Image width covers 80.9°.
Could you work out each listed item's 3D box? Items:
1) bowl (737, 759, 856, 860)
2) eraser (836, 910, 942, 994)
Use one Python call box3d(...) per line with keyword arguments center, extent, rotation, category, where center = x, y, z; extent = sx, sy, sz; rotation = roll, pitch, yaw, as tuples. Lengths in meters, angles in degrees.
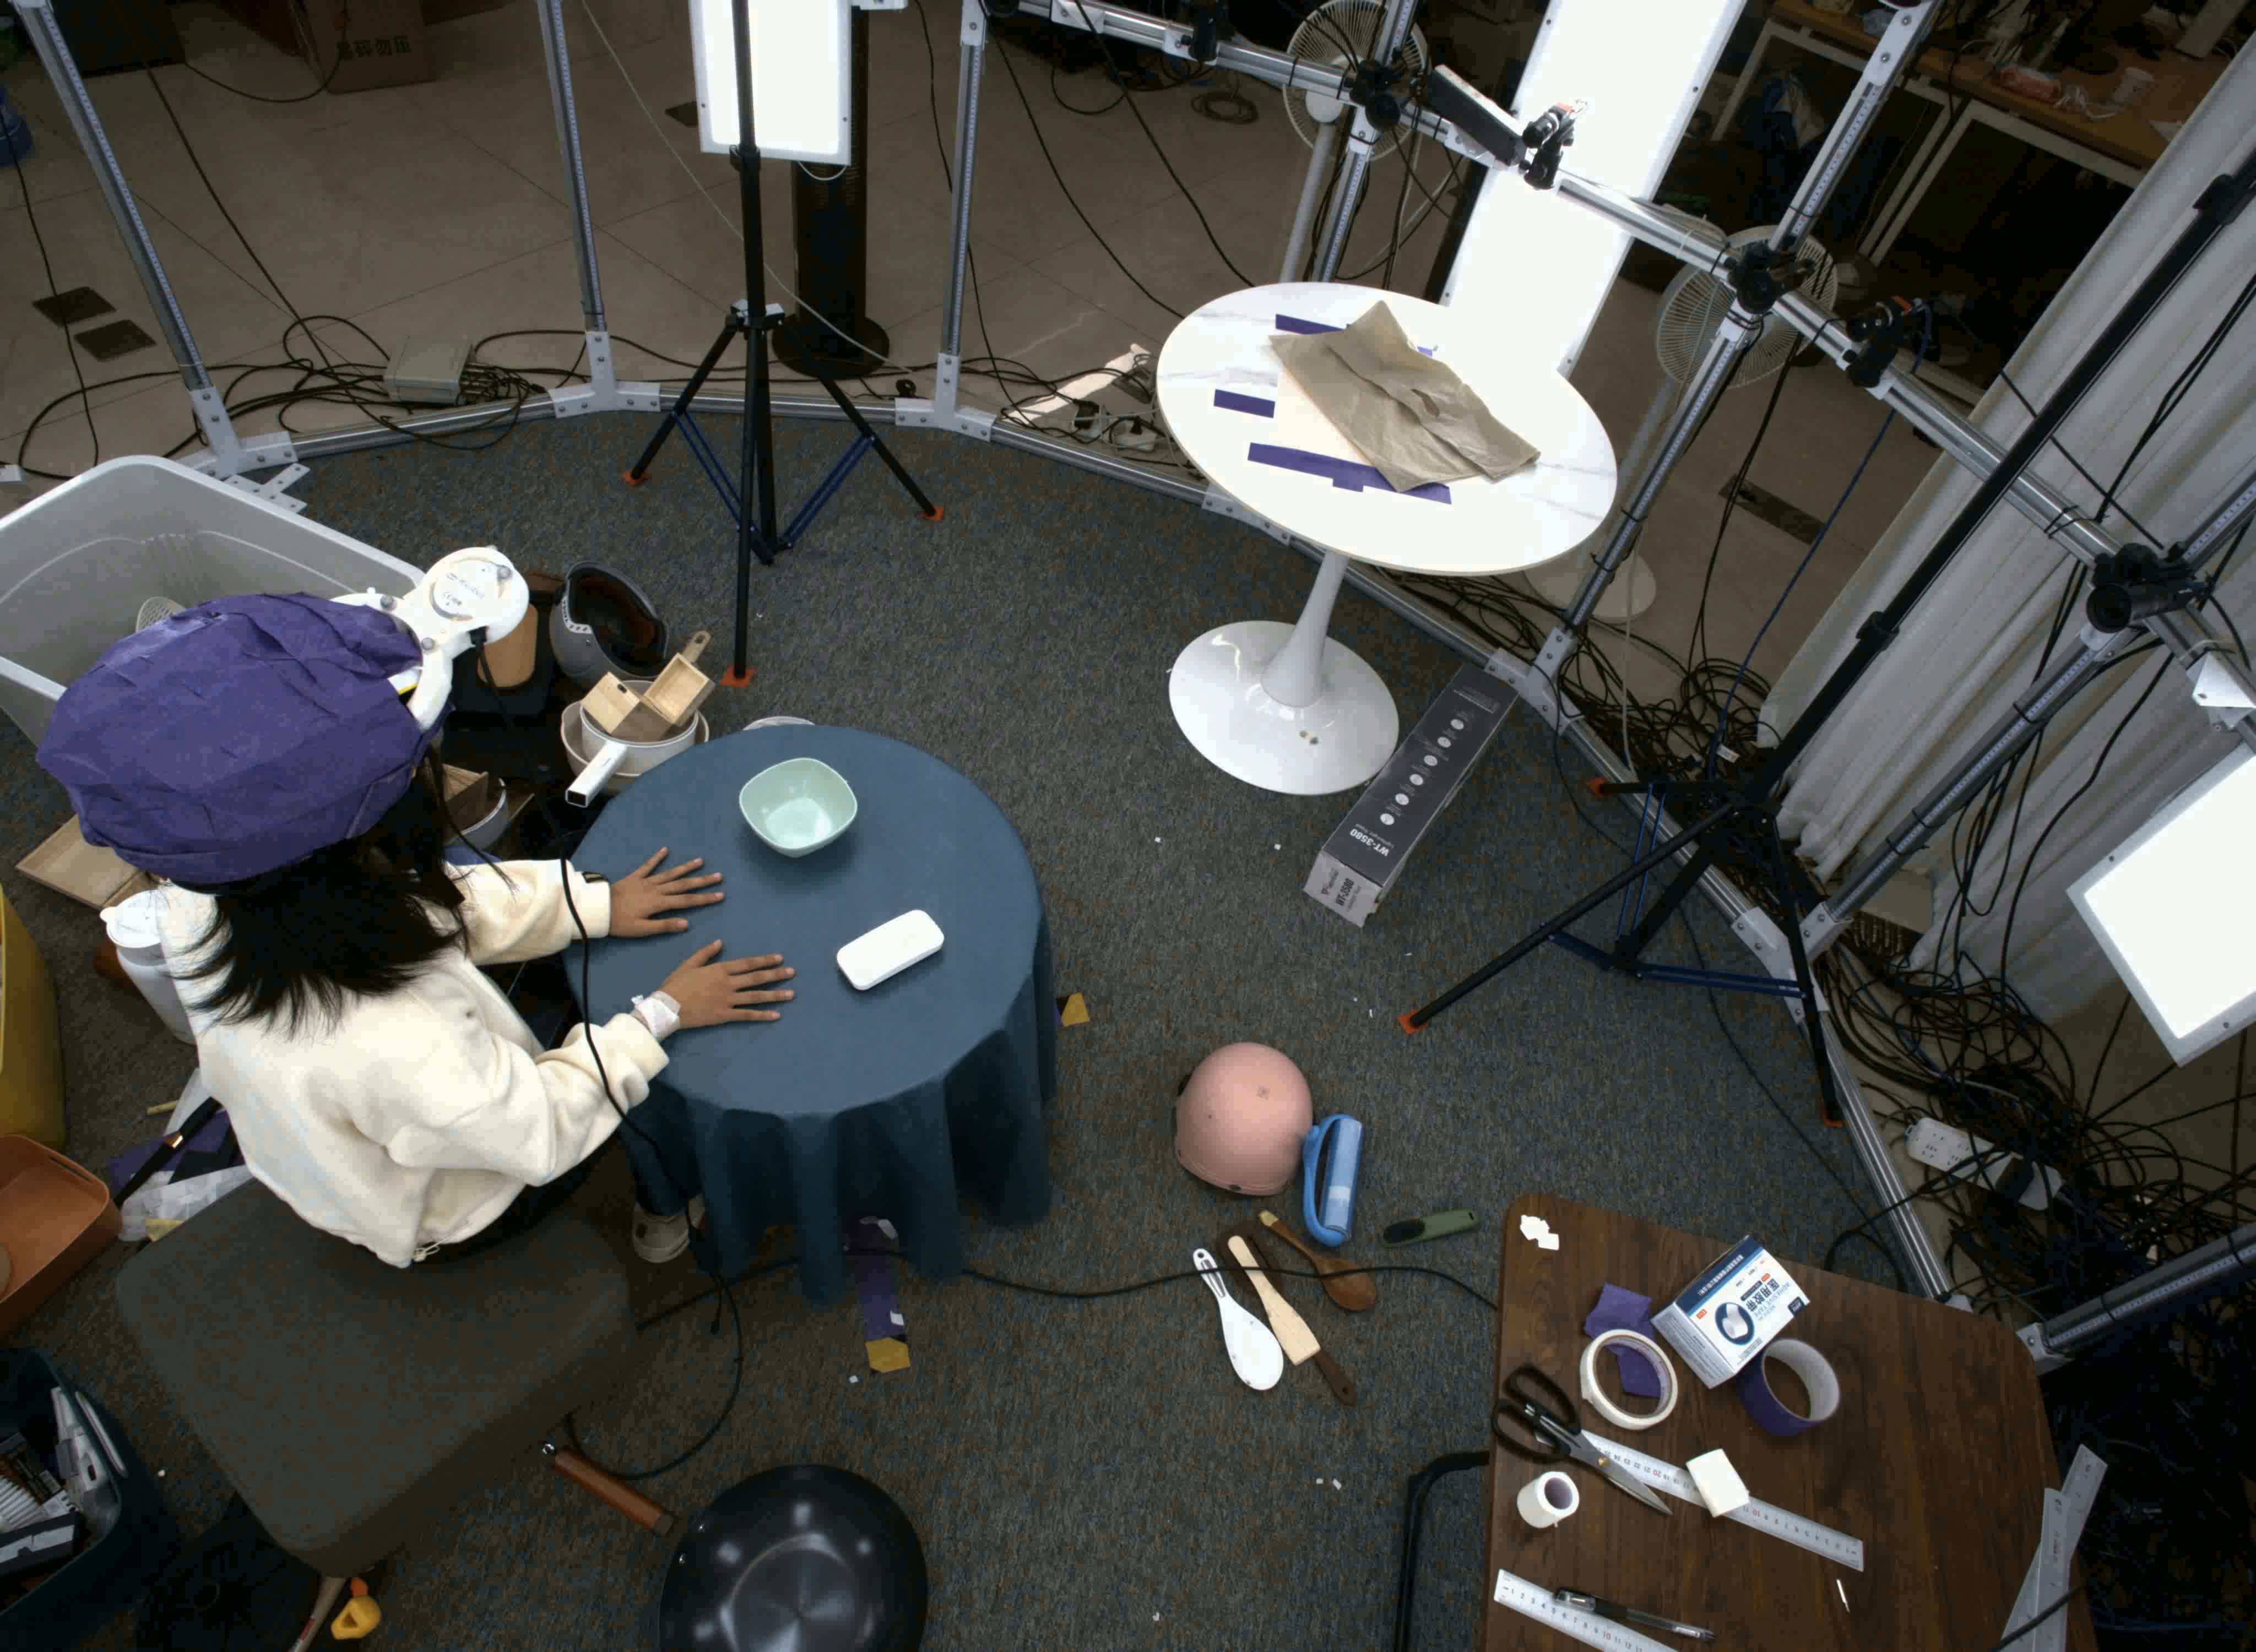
box3d(center=(-0.431, -0.013, 1.692), extent=(0.151, 0.060, 0.148), rotation=(7, 51, -7), category="bowl")
box3d(center=(-0.297, 0.152, 1.619), extent=(0.132, 0.035, 0.062), rotation=(-29, 64, -31), category="eraser")
